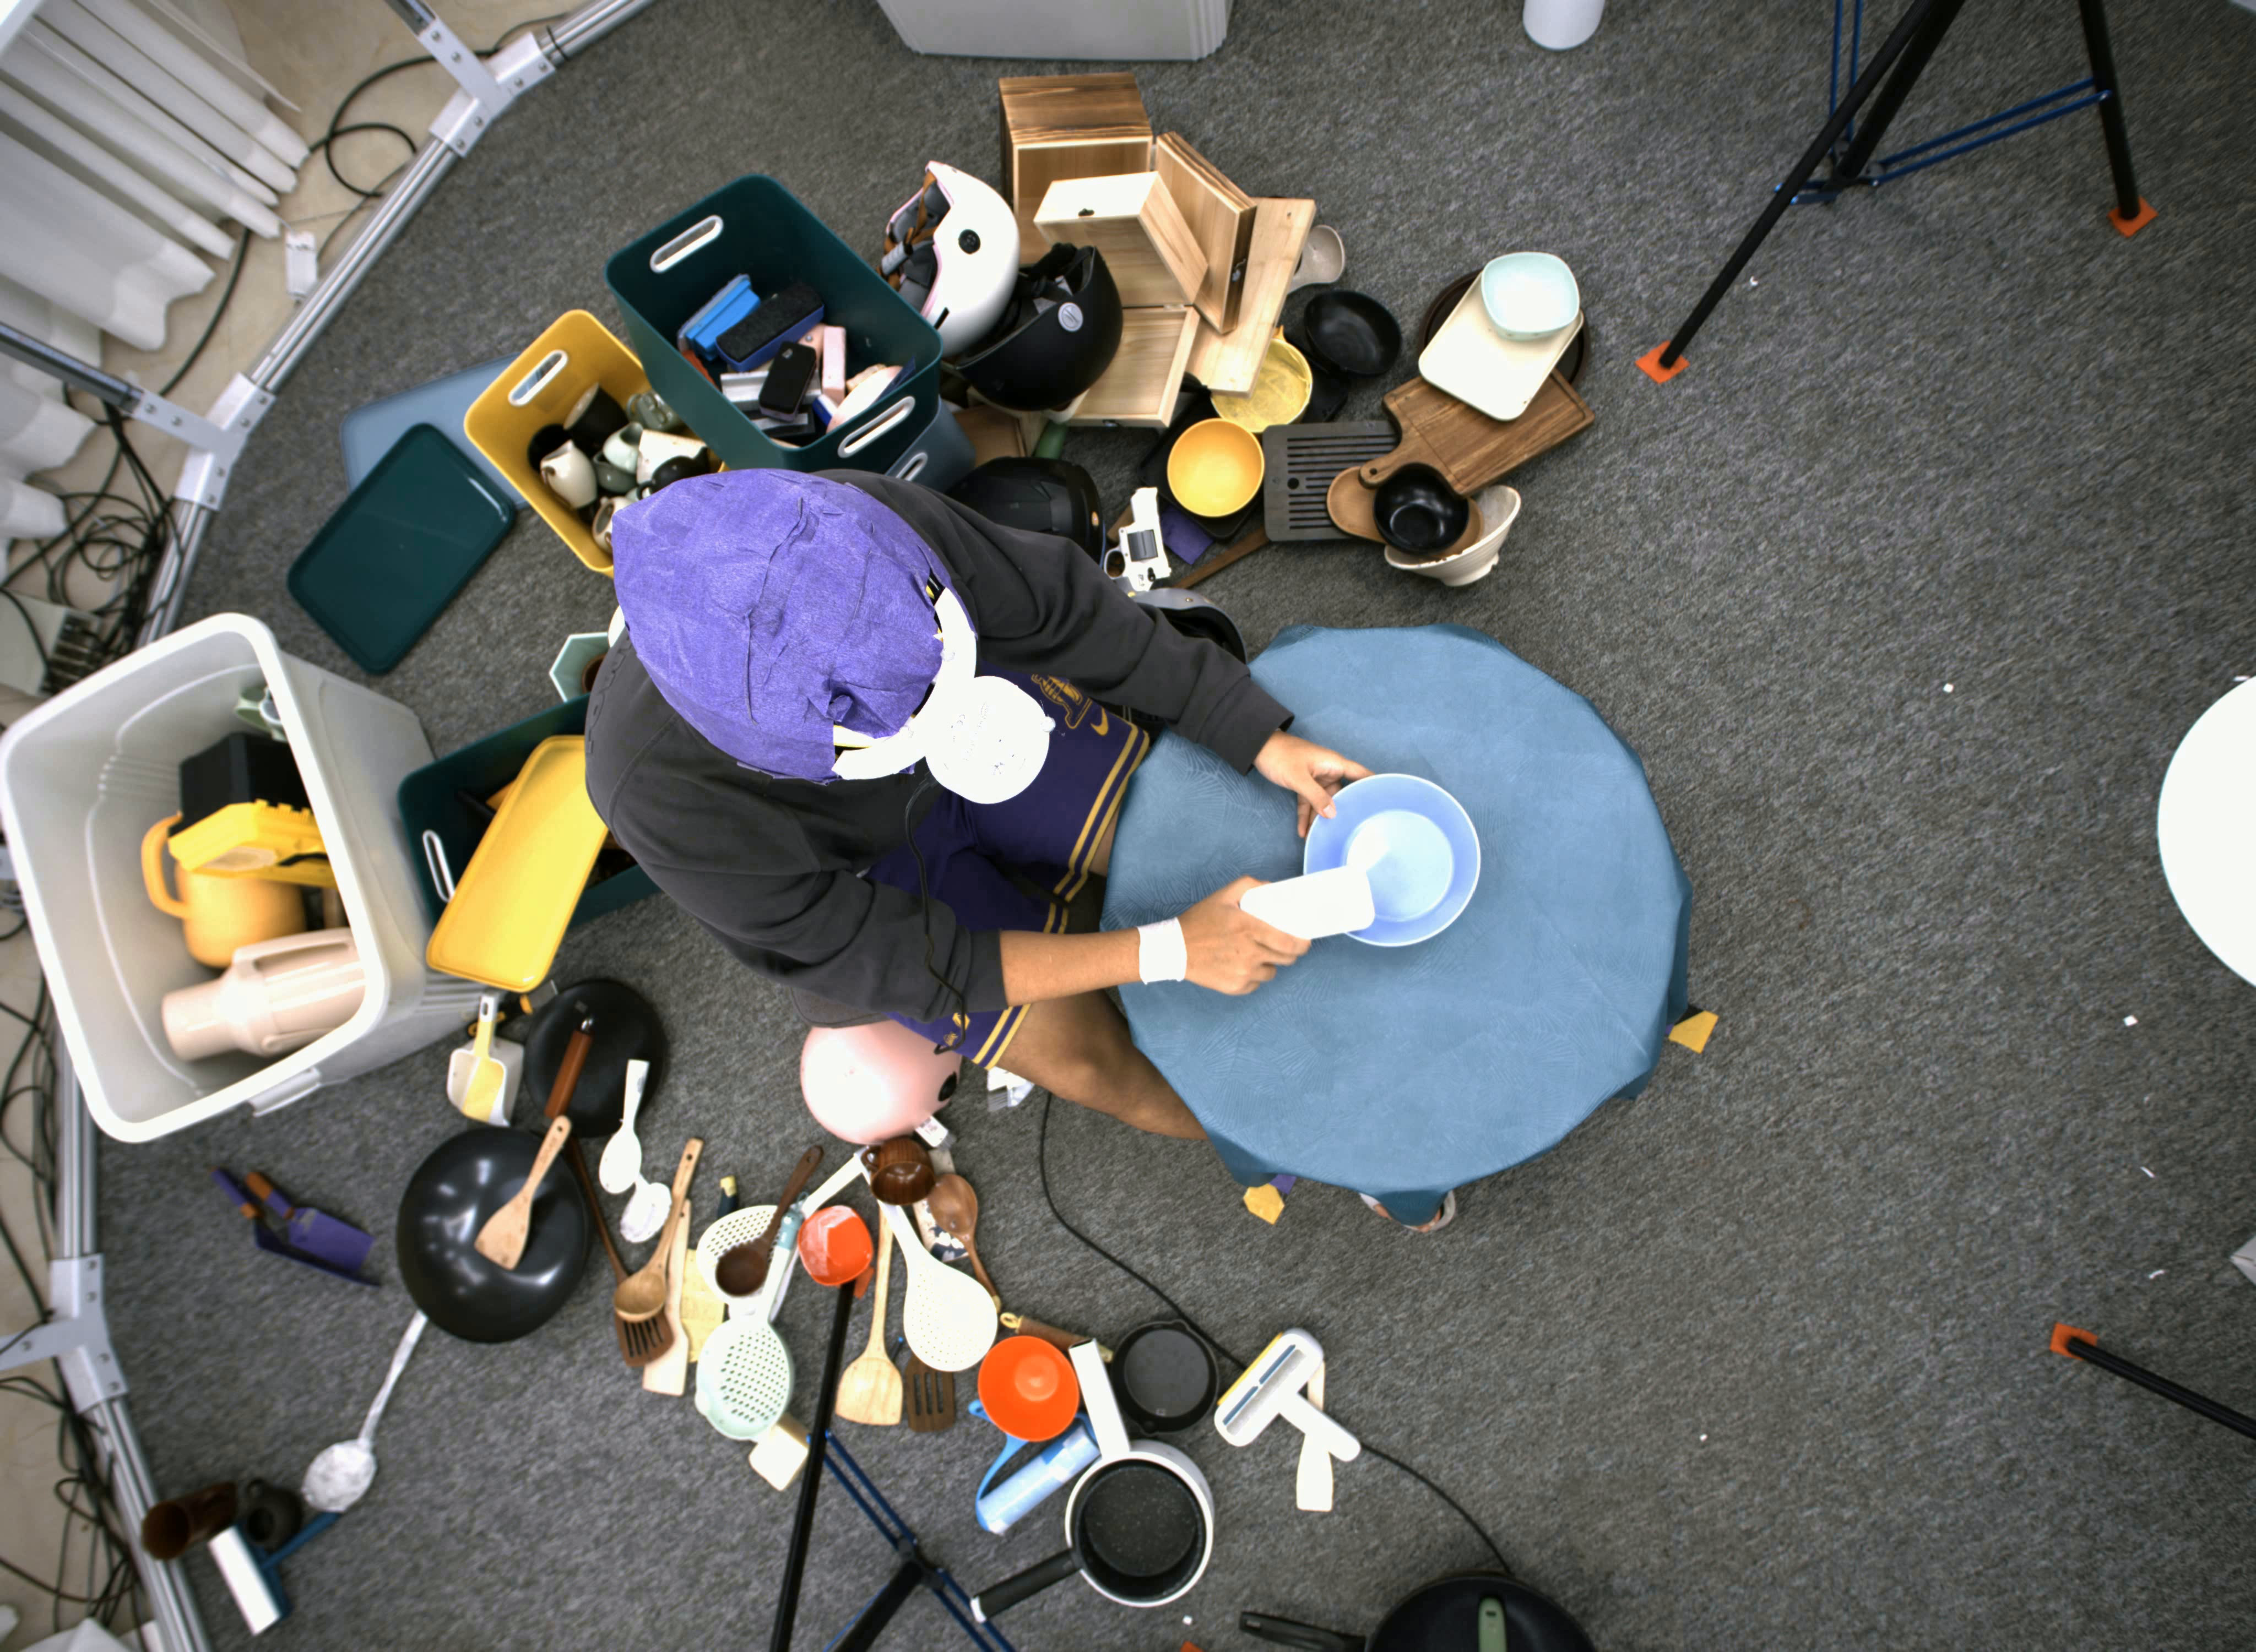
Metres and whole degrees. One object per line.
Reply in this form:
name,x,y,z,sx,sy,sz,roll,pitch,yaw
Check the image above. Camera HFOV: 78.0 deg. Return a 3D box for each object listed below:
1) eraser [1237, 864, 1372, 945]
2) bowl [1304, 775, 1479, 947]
eraser,0.177,0.078,1.394,0.132,0.034,0.063,-13,79,11
bowl,0.273,0.038,1.418,0.177,0.070,0.175,-2,83,17
